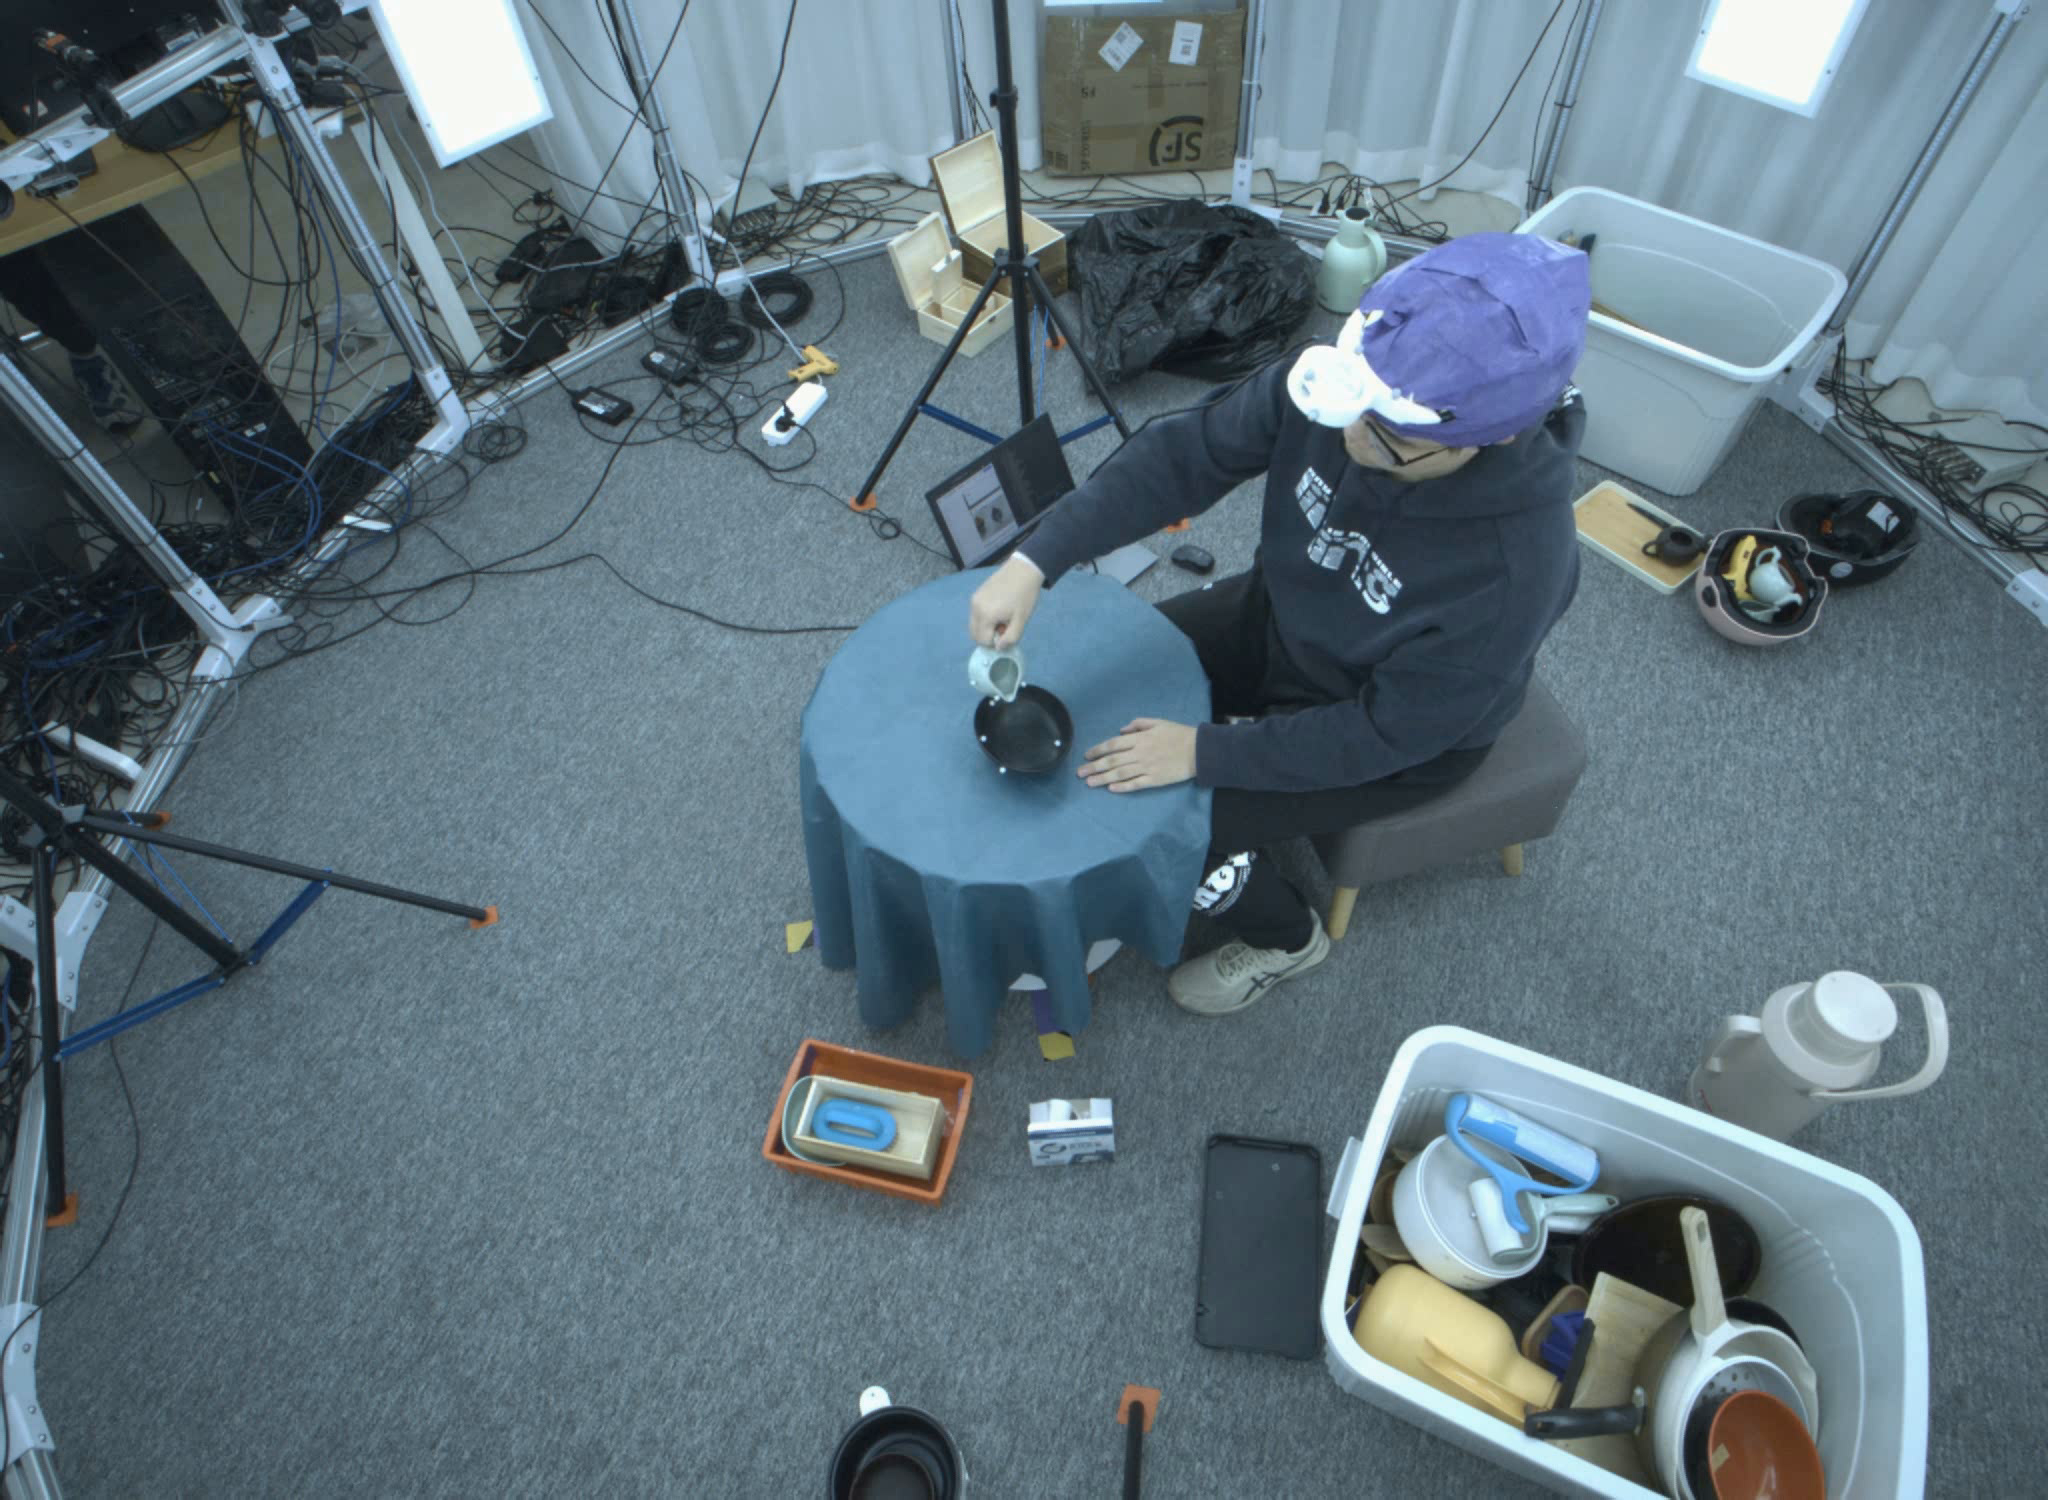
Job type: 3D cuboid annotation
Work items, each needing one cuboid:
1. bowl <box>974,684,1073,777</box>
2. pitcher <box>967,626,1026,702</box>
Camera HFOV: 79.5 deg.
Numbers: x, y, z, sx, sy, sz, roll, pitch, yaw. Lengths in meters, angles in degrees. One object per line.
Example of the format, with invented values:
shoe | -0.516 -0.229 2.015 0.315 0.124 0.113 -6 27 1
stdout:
bowl | -0.002 -0.019 1.763 0.138 0.067 0.167 -20 56 -13
pitcher | -0.039 -0.124 1.726 0.087 0.109 0.059 -20 23 -14
